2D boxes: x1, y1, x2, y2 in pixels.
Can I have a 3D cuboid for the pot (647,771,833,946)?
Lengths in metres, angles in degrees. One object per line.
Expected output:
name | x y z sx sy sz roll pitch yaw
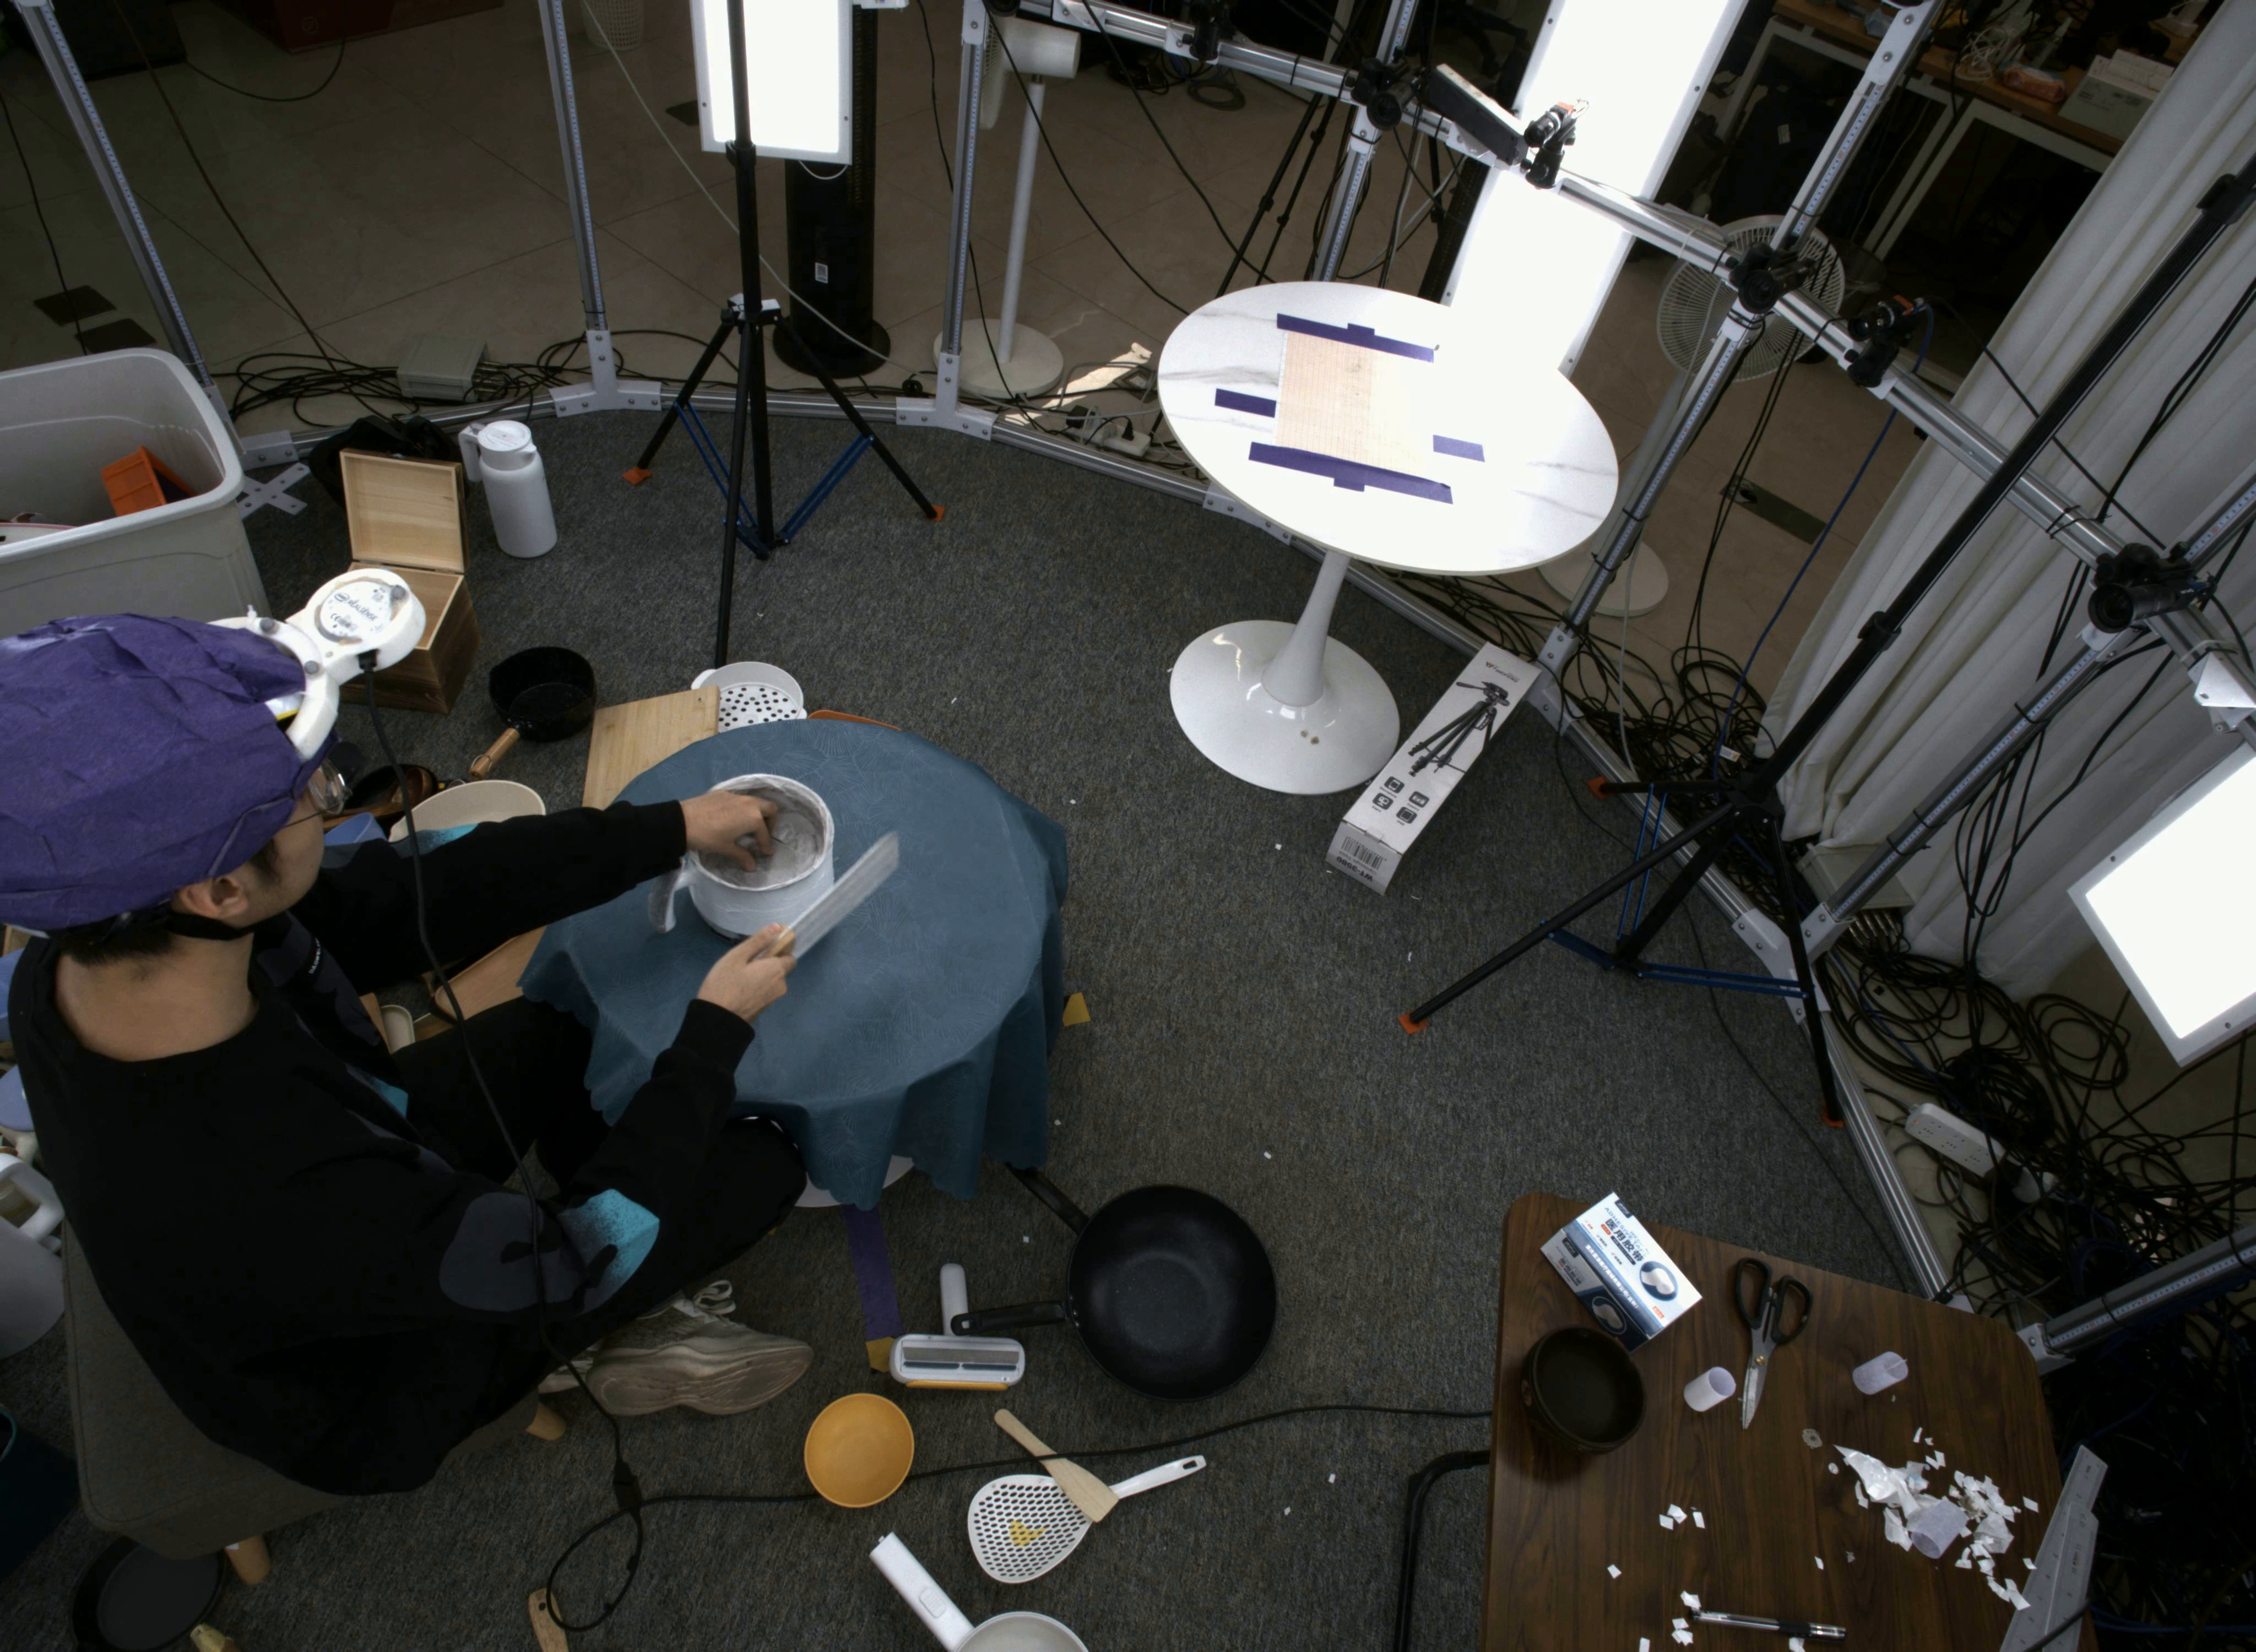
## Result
pot | -0.474 0.052 1.572 0.235 0.139 0.174 -25 62 -30

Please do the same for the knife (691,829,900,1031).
knife | -0.352 0.109 1.411 0.021 0.116 0.315 36 52 12
